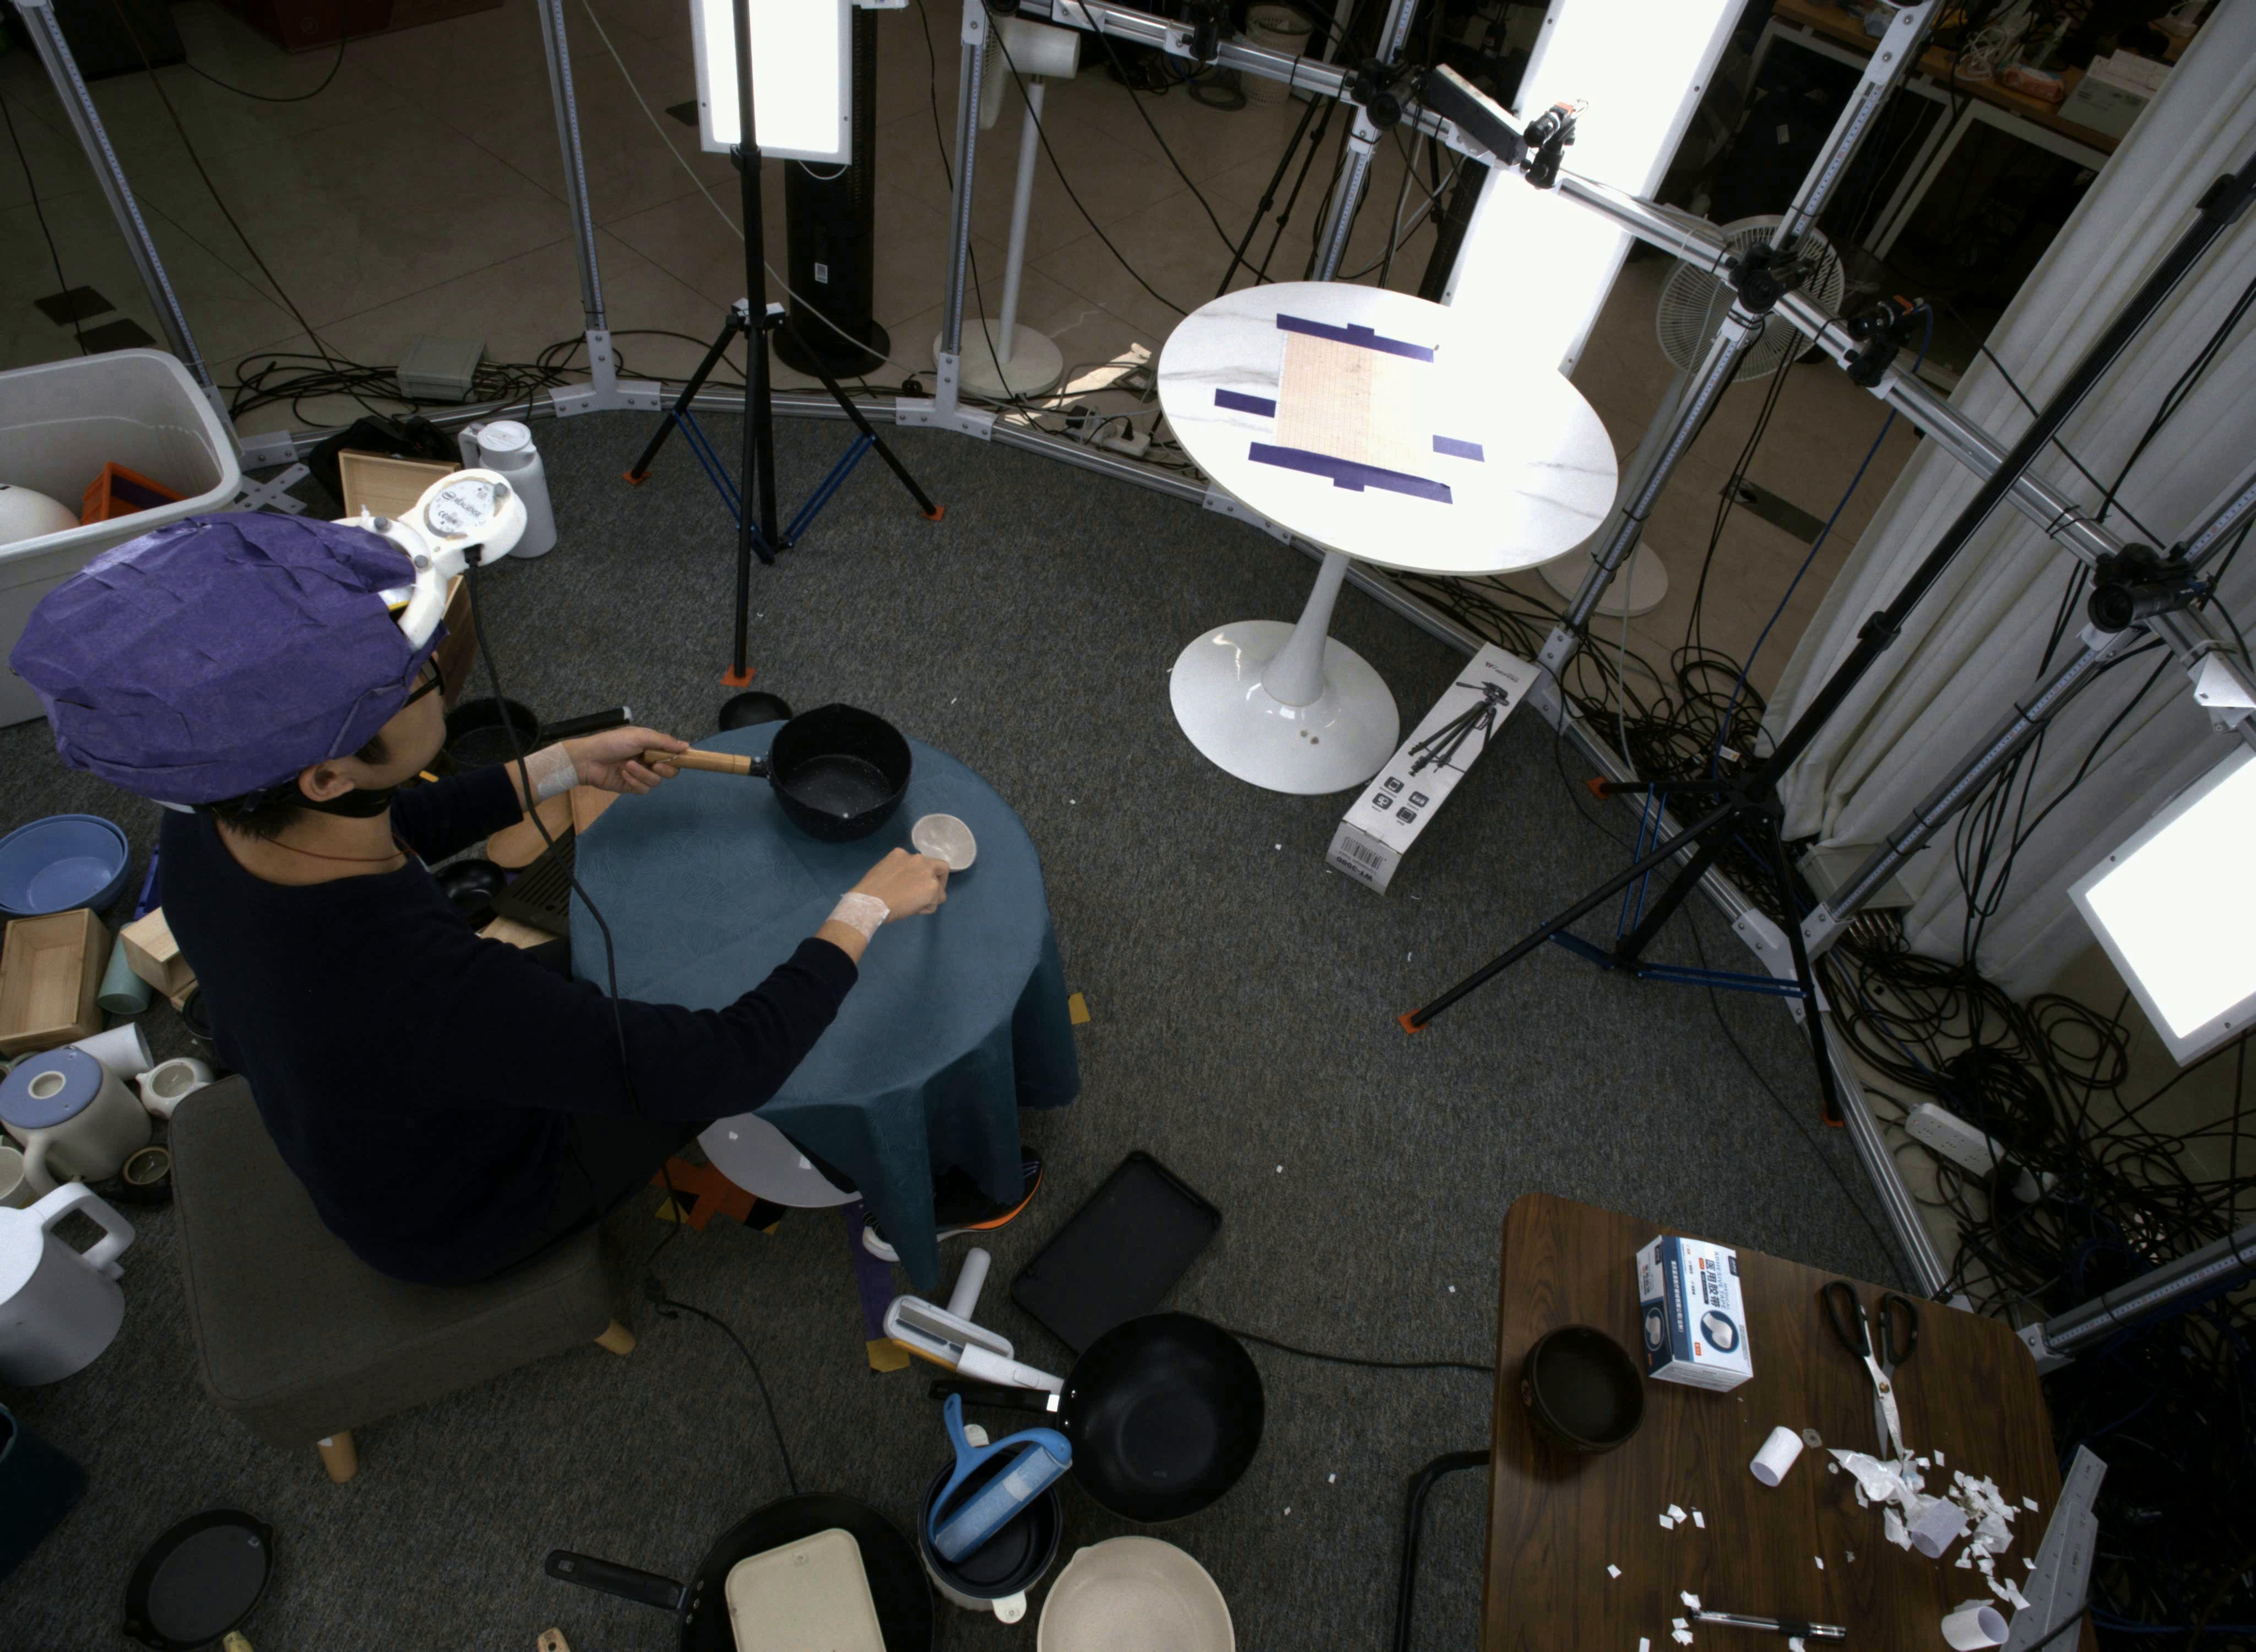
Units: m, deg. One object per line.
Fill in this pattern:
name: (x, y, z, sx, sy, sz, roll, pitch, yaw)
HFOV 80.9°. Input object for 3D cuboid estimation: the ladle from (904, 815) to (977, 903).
ladle: (-0.236, 0.038, 1.601, 0.090, 0.271, 0.070, 34, 94, -7)

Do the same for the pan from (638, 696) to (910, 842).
pan: (-0.457, -0.069, 1.680, 0.345, 0.110, 0.203, -2, 55, -21)
